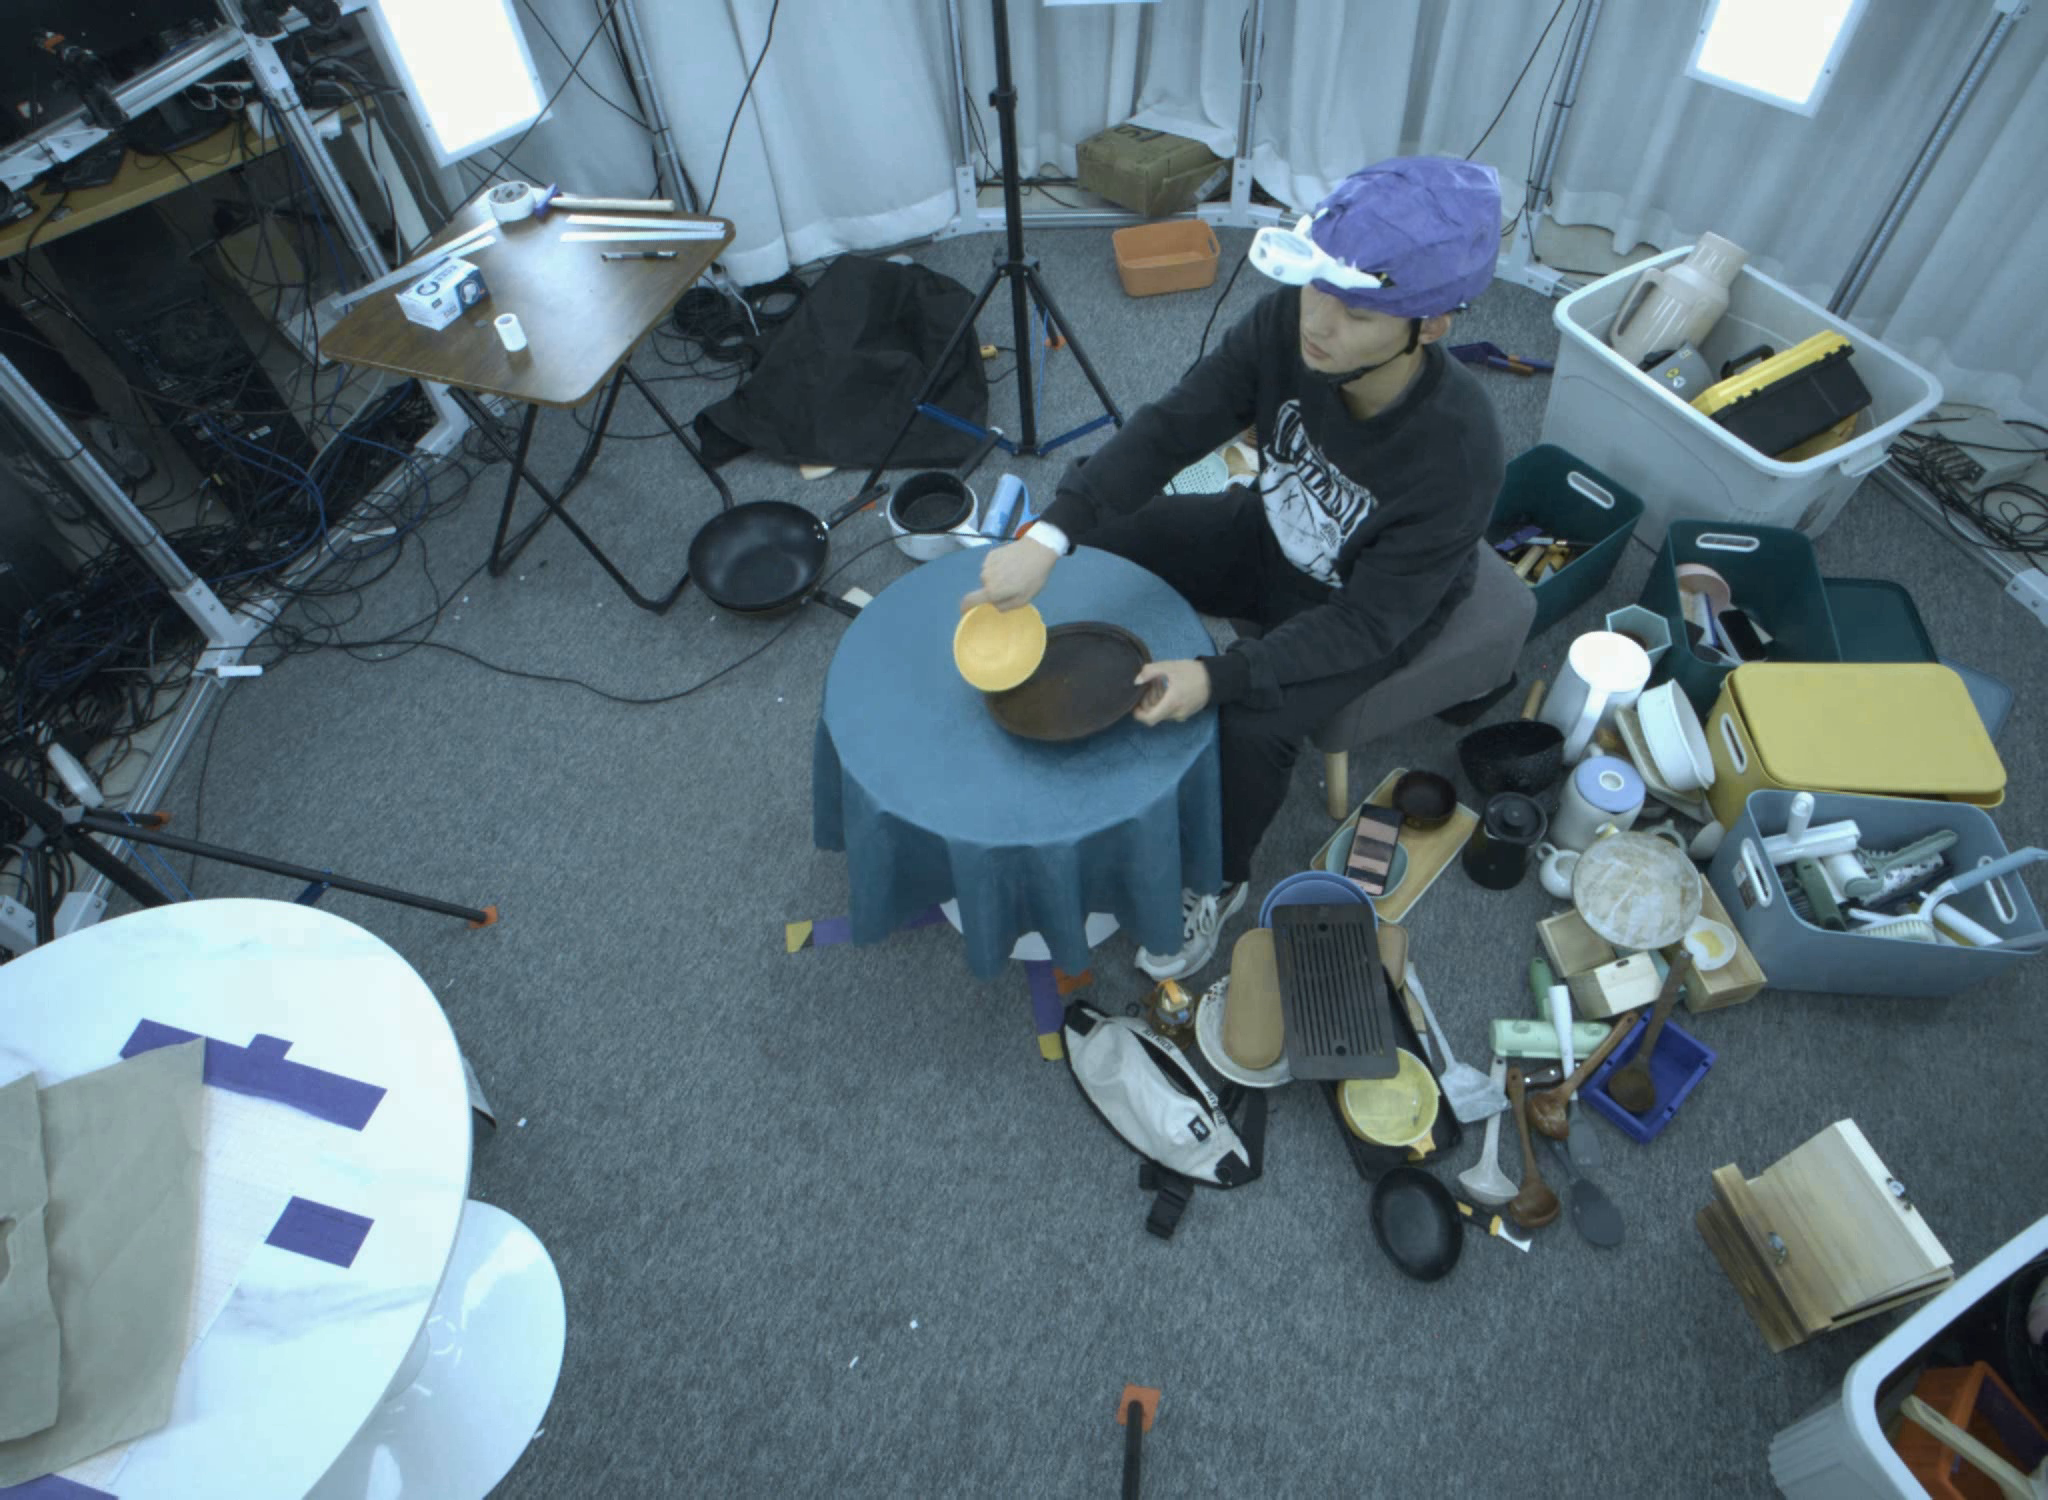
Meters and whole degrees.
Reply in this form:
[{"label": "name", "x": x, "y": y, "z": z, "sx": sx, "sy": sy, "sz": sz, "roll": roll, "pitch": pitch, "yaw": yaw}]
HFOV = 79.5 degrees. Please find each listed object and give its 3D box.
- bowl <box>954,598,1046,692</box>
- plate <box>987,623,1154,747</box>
[{"label": "bowl", "x": -0.045, "y": -0.162, "z": 1.809, "sx": 0.146, "sy": 0.147, "sz": 0.059, "roll": -27, "pitch": 34, "yaw": -15}, {"label": "plate", "x": 0.068, "y": -0.096, "z": 1.820, "sx": 0.253, "sy": 0.029, "sz": 0.252, "roll": -8, "pitch": 44, "yaw": 9}]
